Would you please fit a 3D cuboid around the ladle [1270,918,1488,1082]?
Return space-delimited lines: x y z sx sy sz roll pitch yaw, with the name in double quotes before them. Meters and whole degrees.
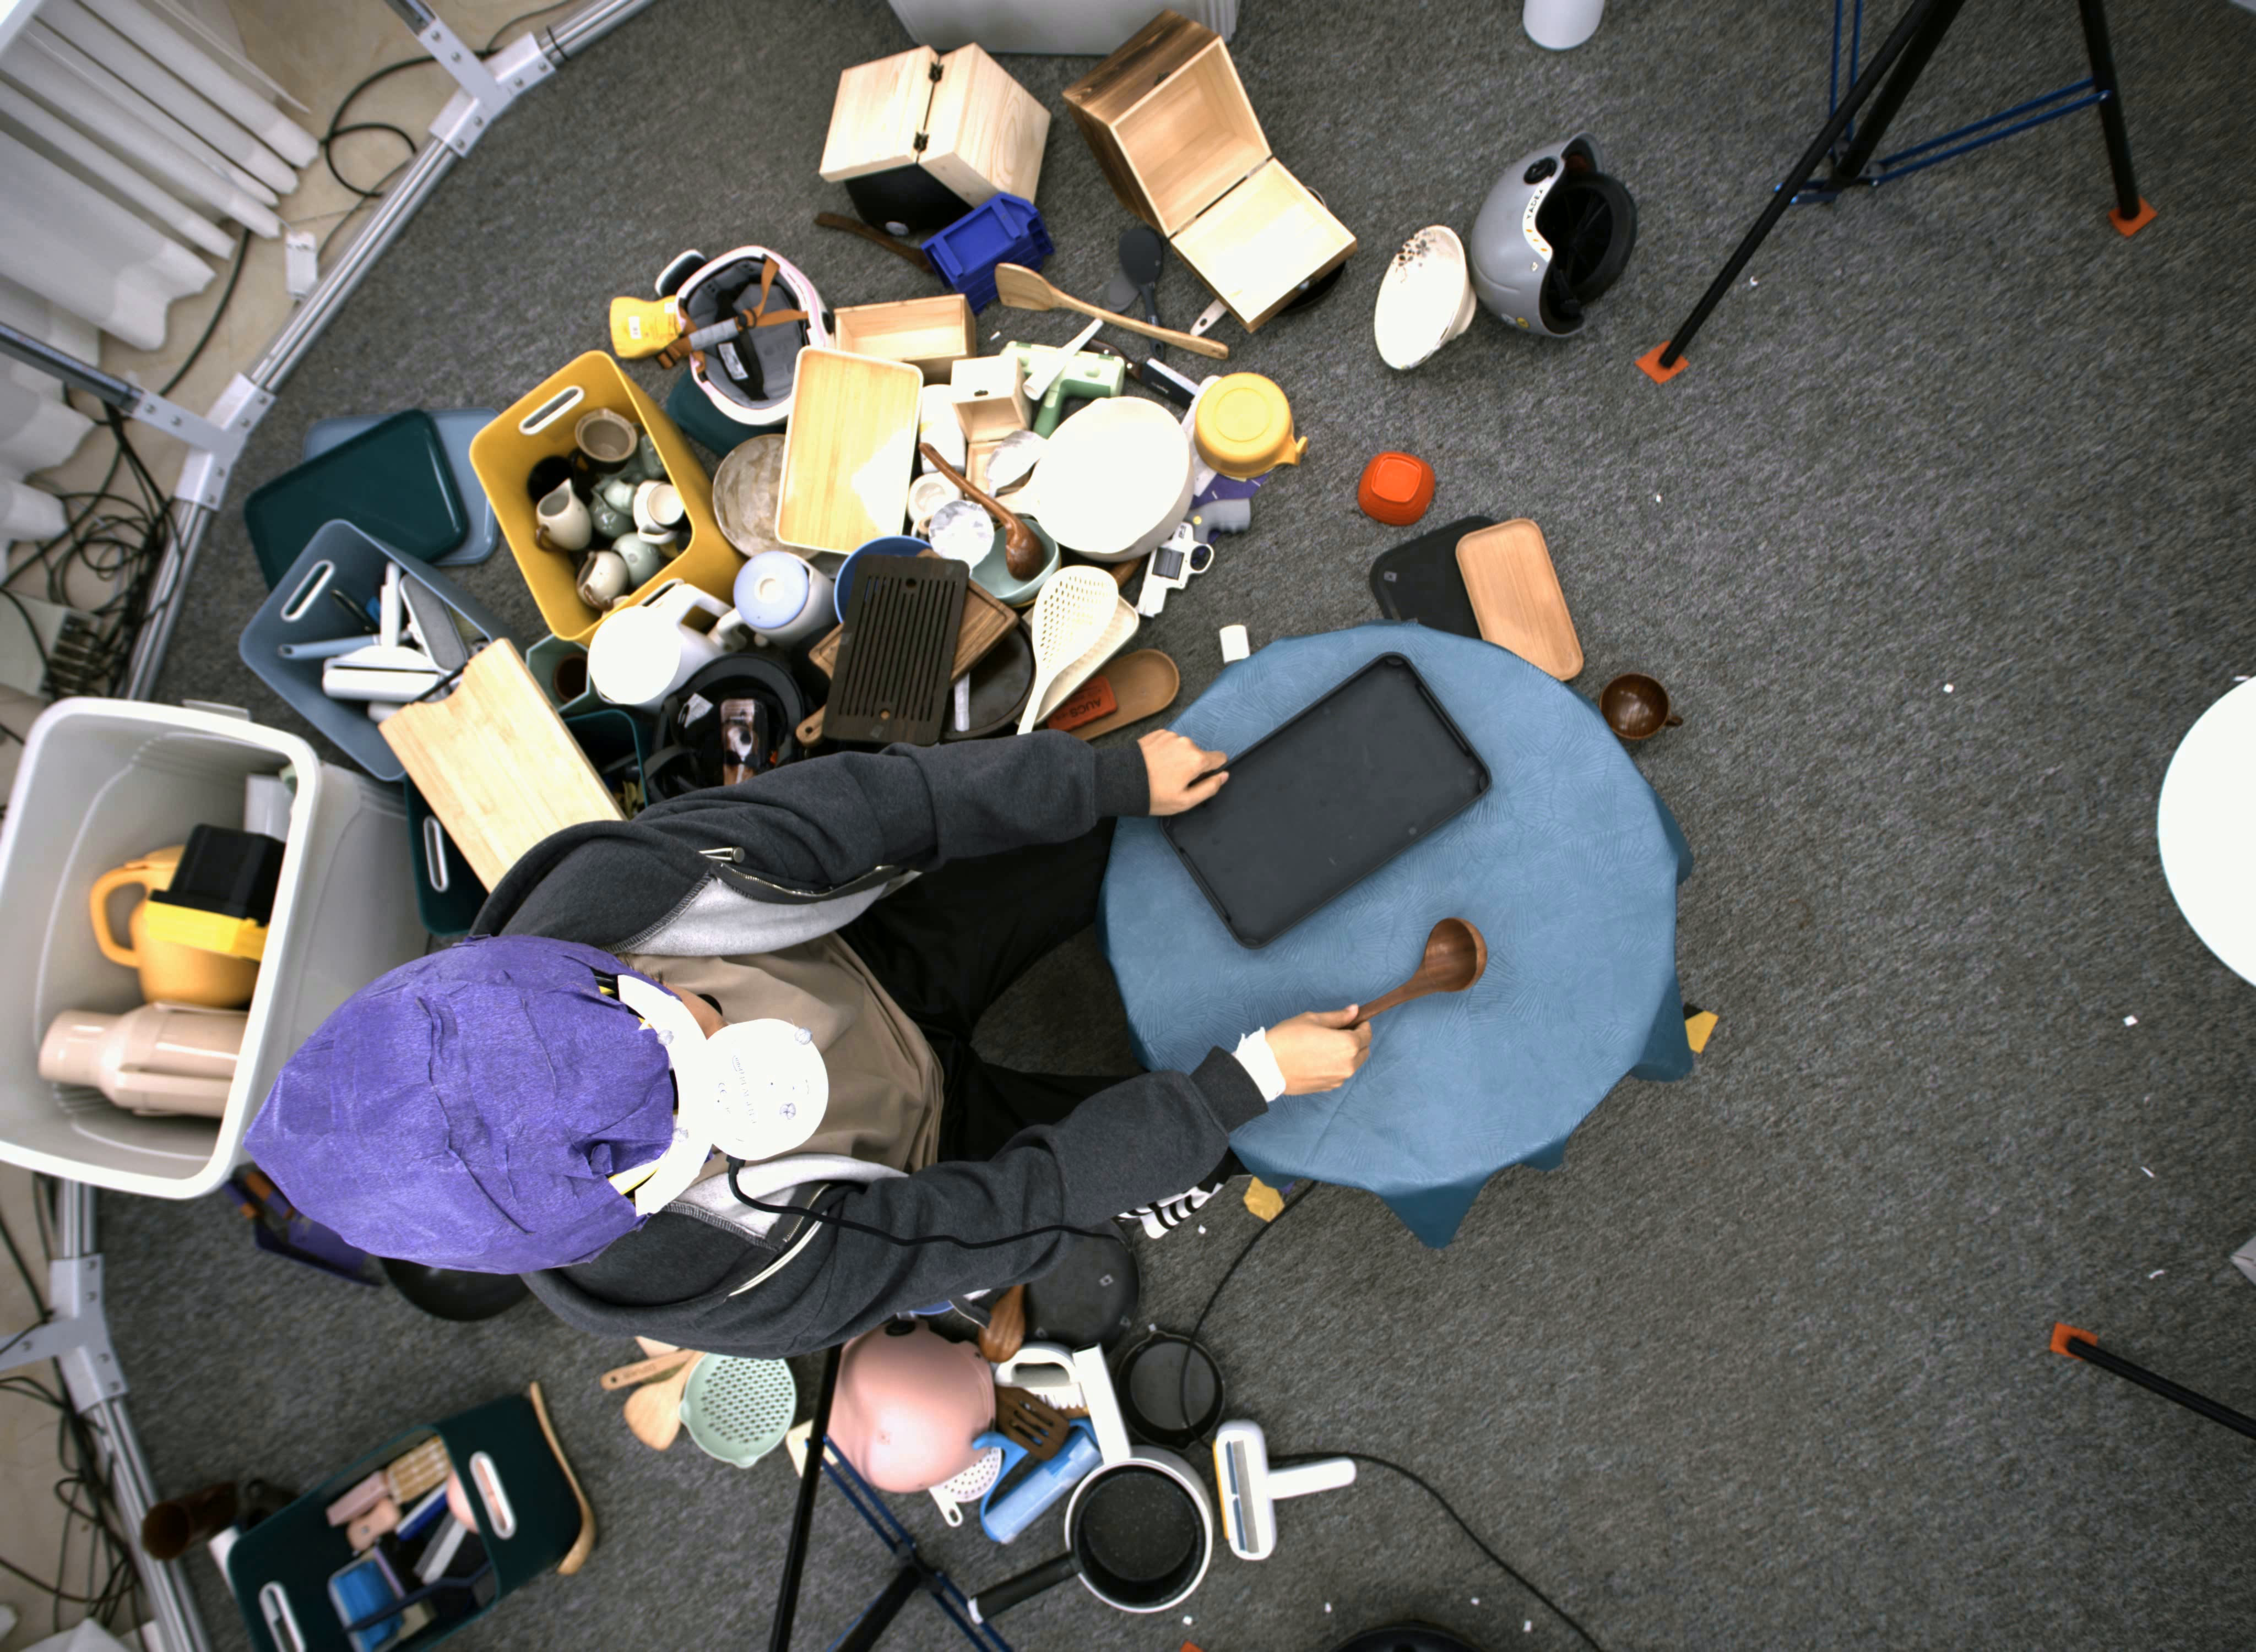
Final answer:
"ladle" 0.248 0.181 1.409 0.262 0.066 0.075 -32 51 10

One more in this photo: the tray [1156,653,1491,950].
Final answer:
"tray" 0.204 -0.026 1.453 0.319 0.037 0.183 -35 83 5
